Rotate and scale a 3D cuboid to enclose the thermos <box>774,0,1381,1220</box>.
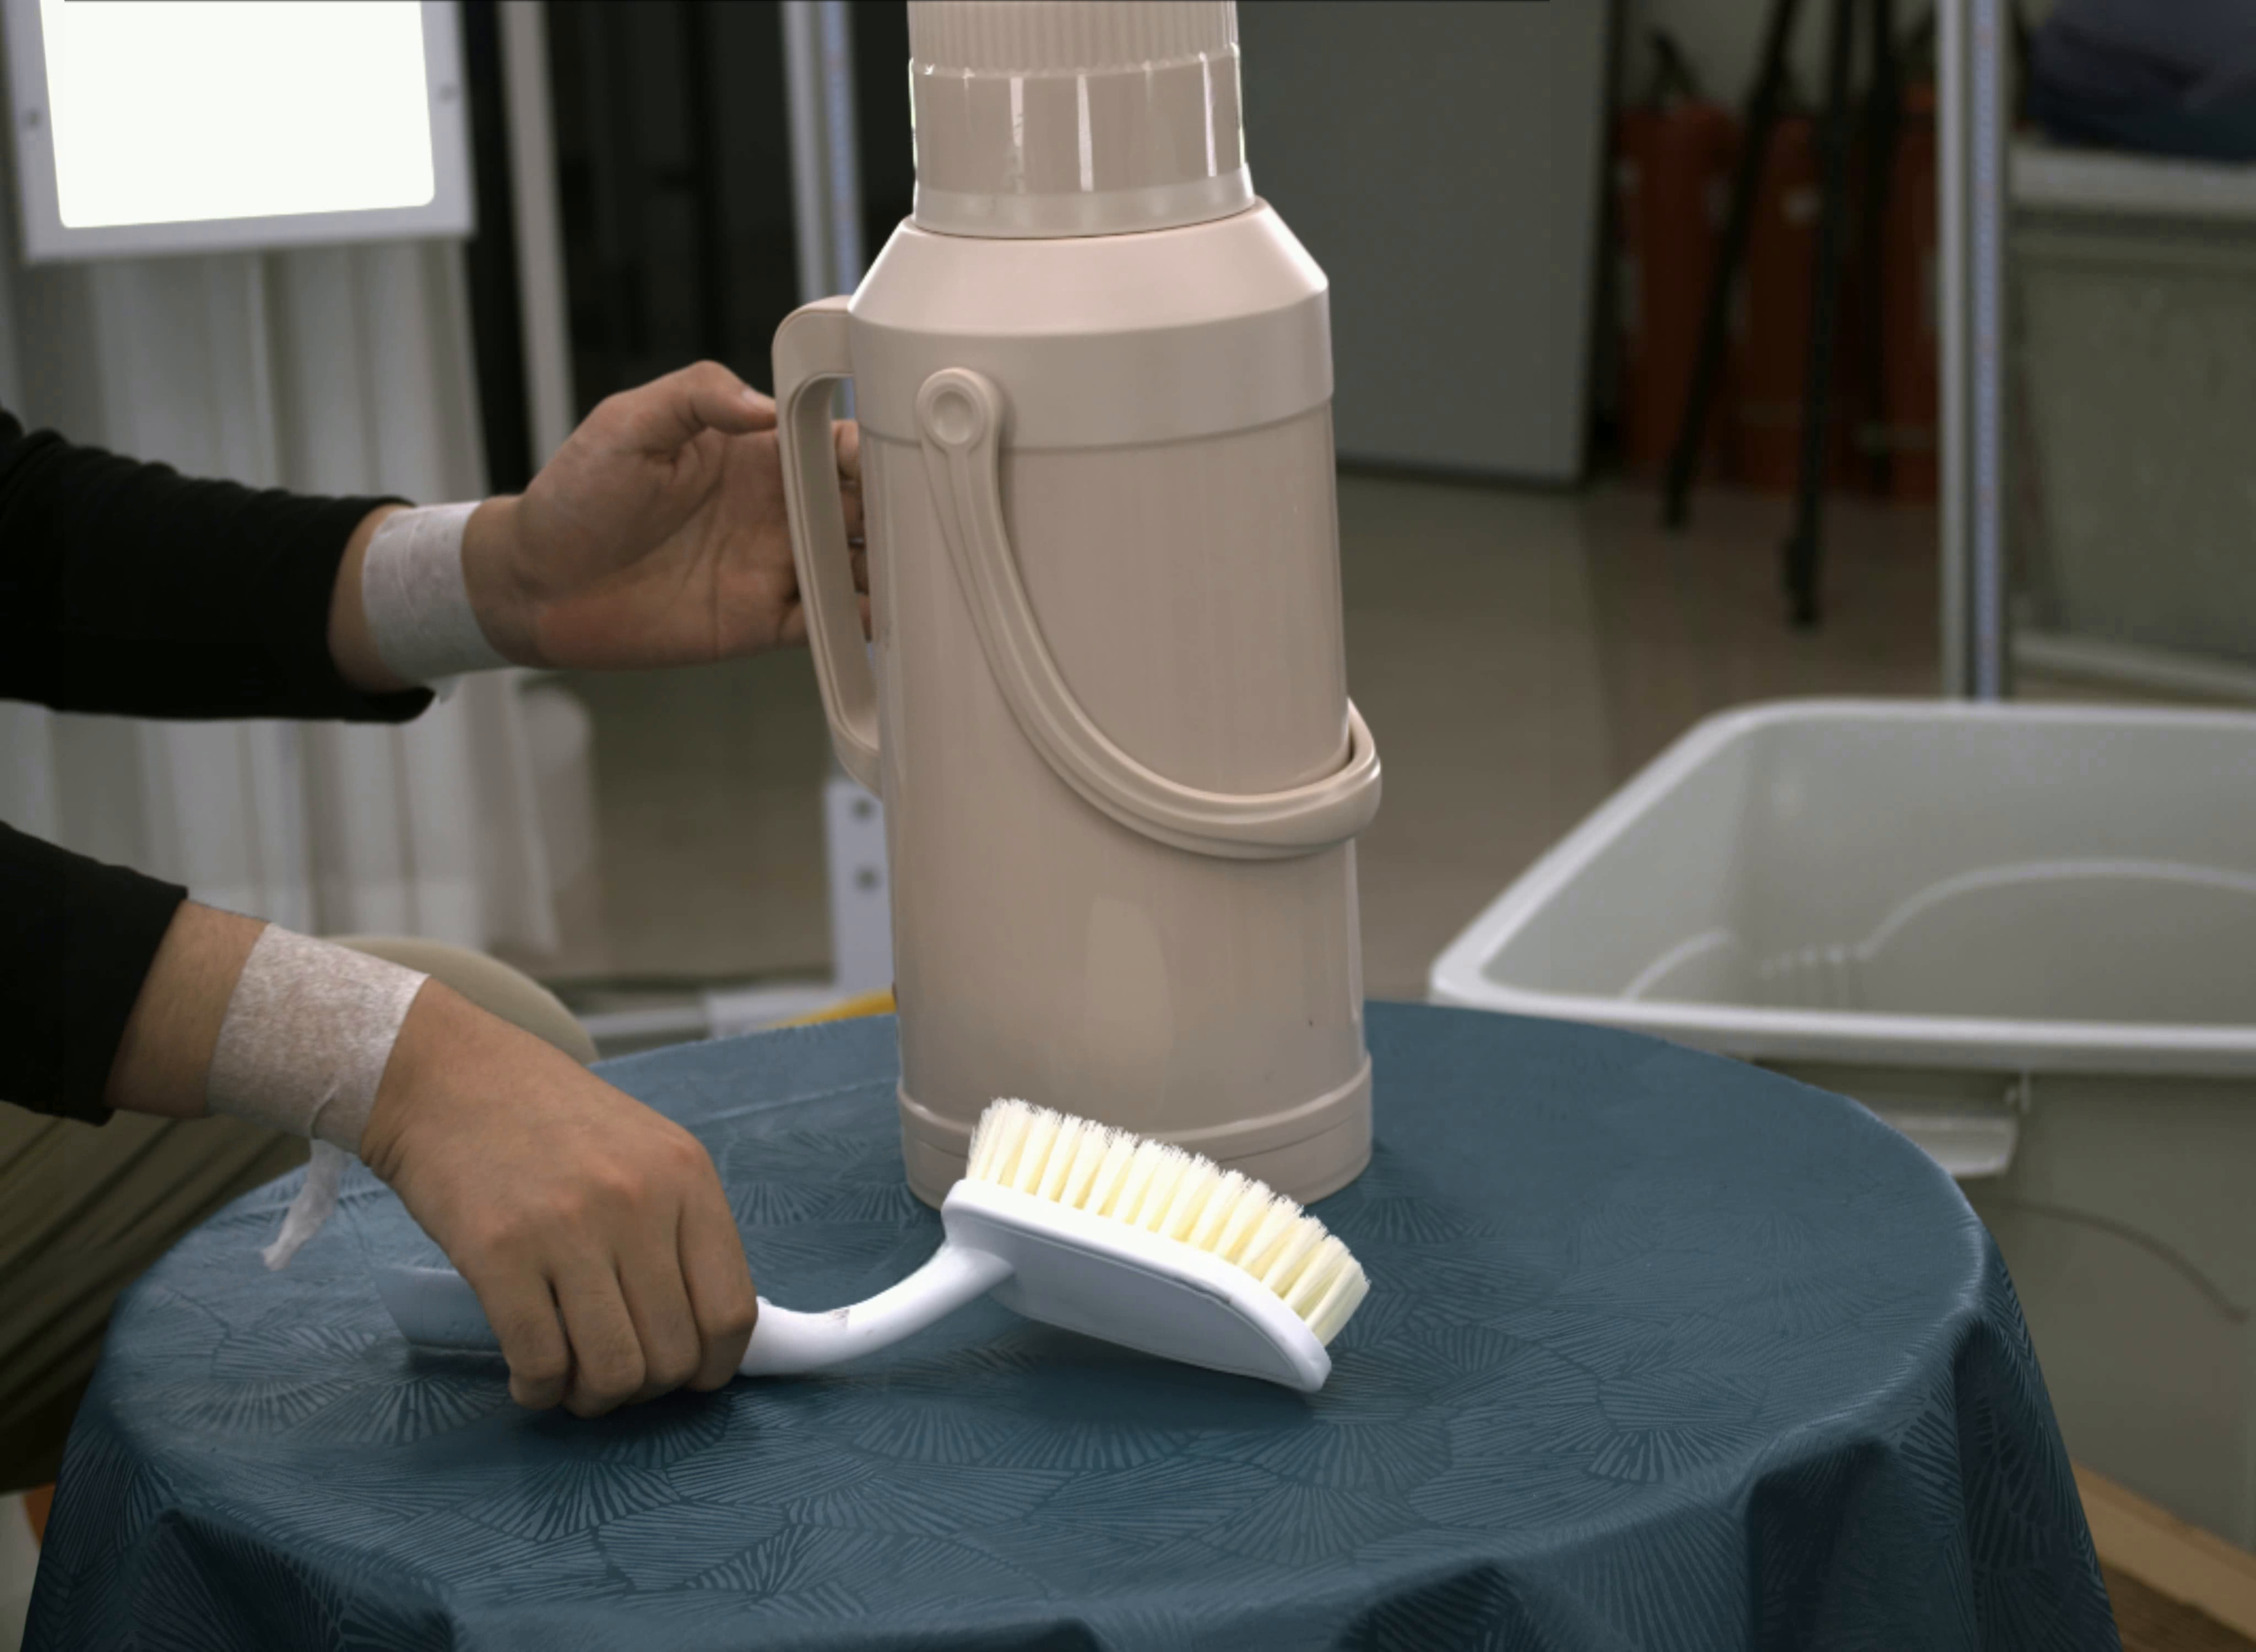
[{"bbox_3d":[-0.019,-0.082,1.764,0.208,0.410,0.173,4,17,30],"label":"thermos"}]

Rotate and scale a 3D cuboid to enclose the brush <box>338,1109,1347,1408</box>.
[{"bbox_3d":[-0.087,0.123,1.626,0.325,0.084,0.083,2,16,22],"label":"brush"}]
